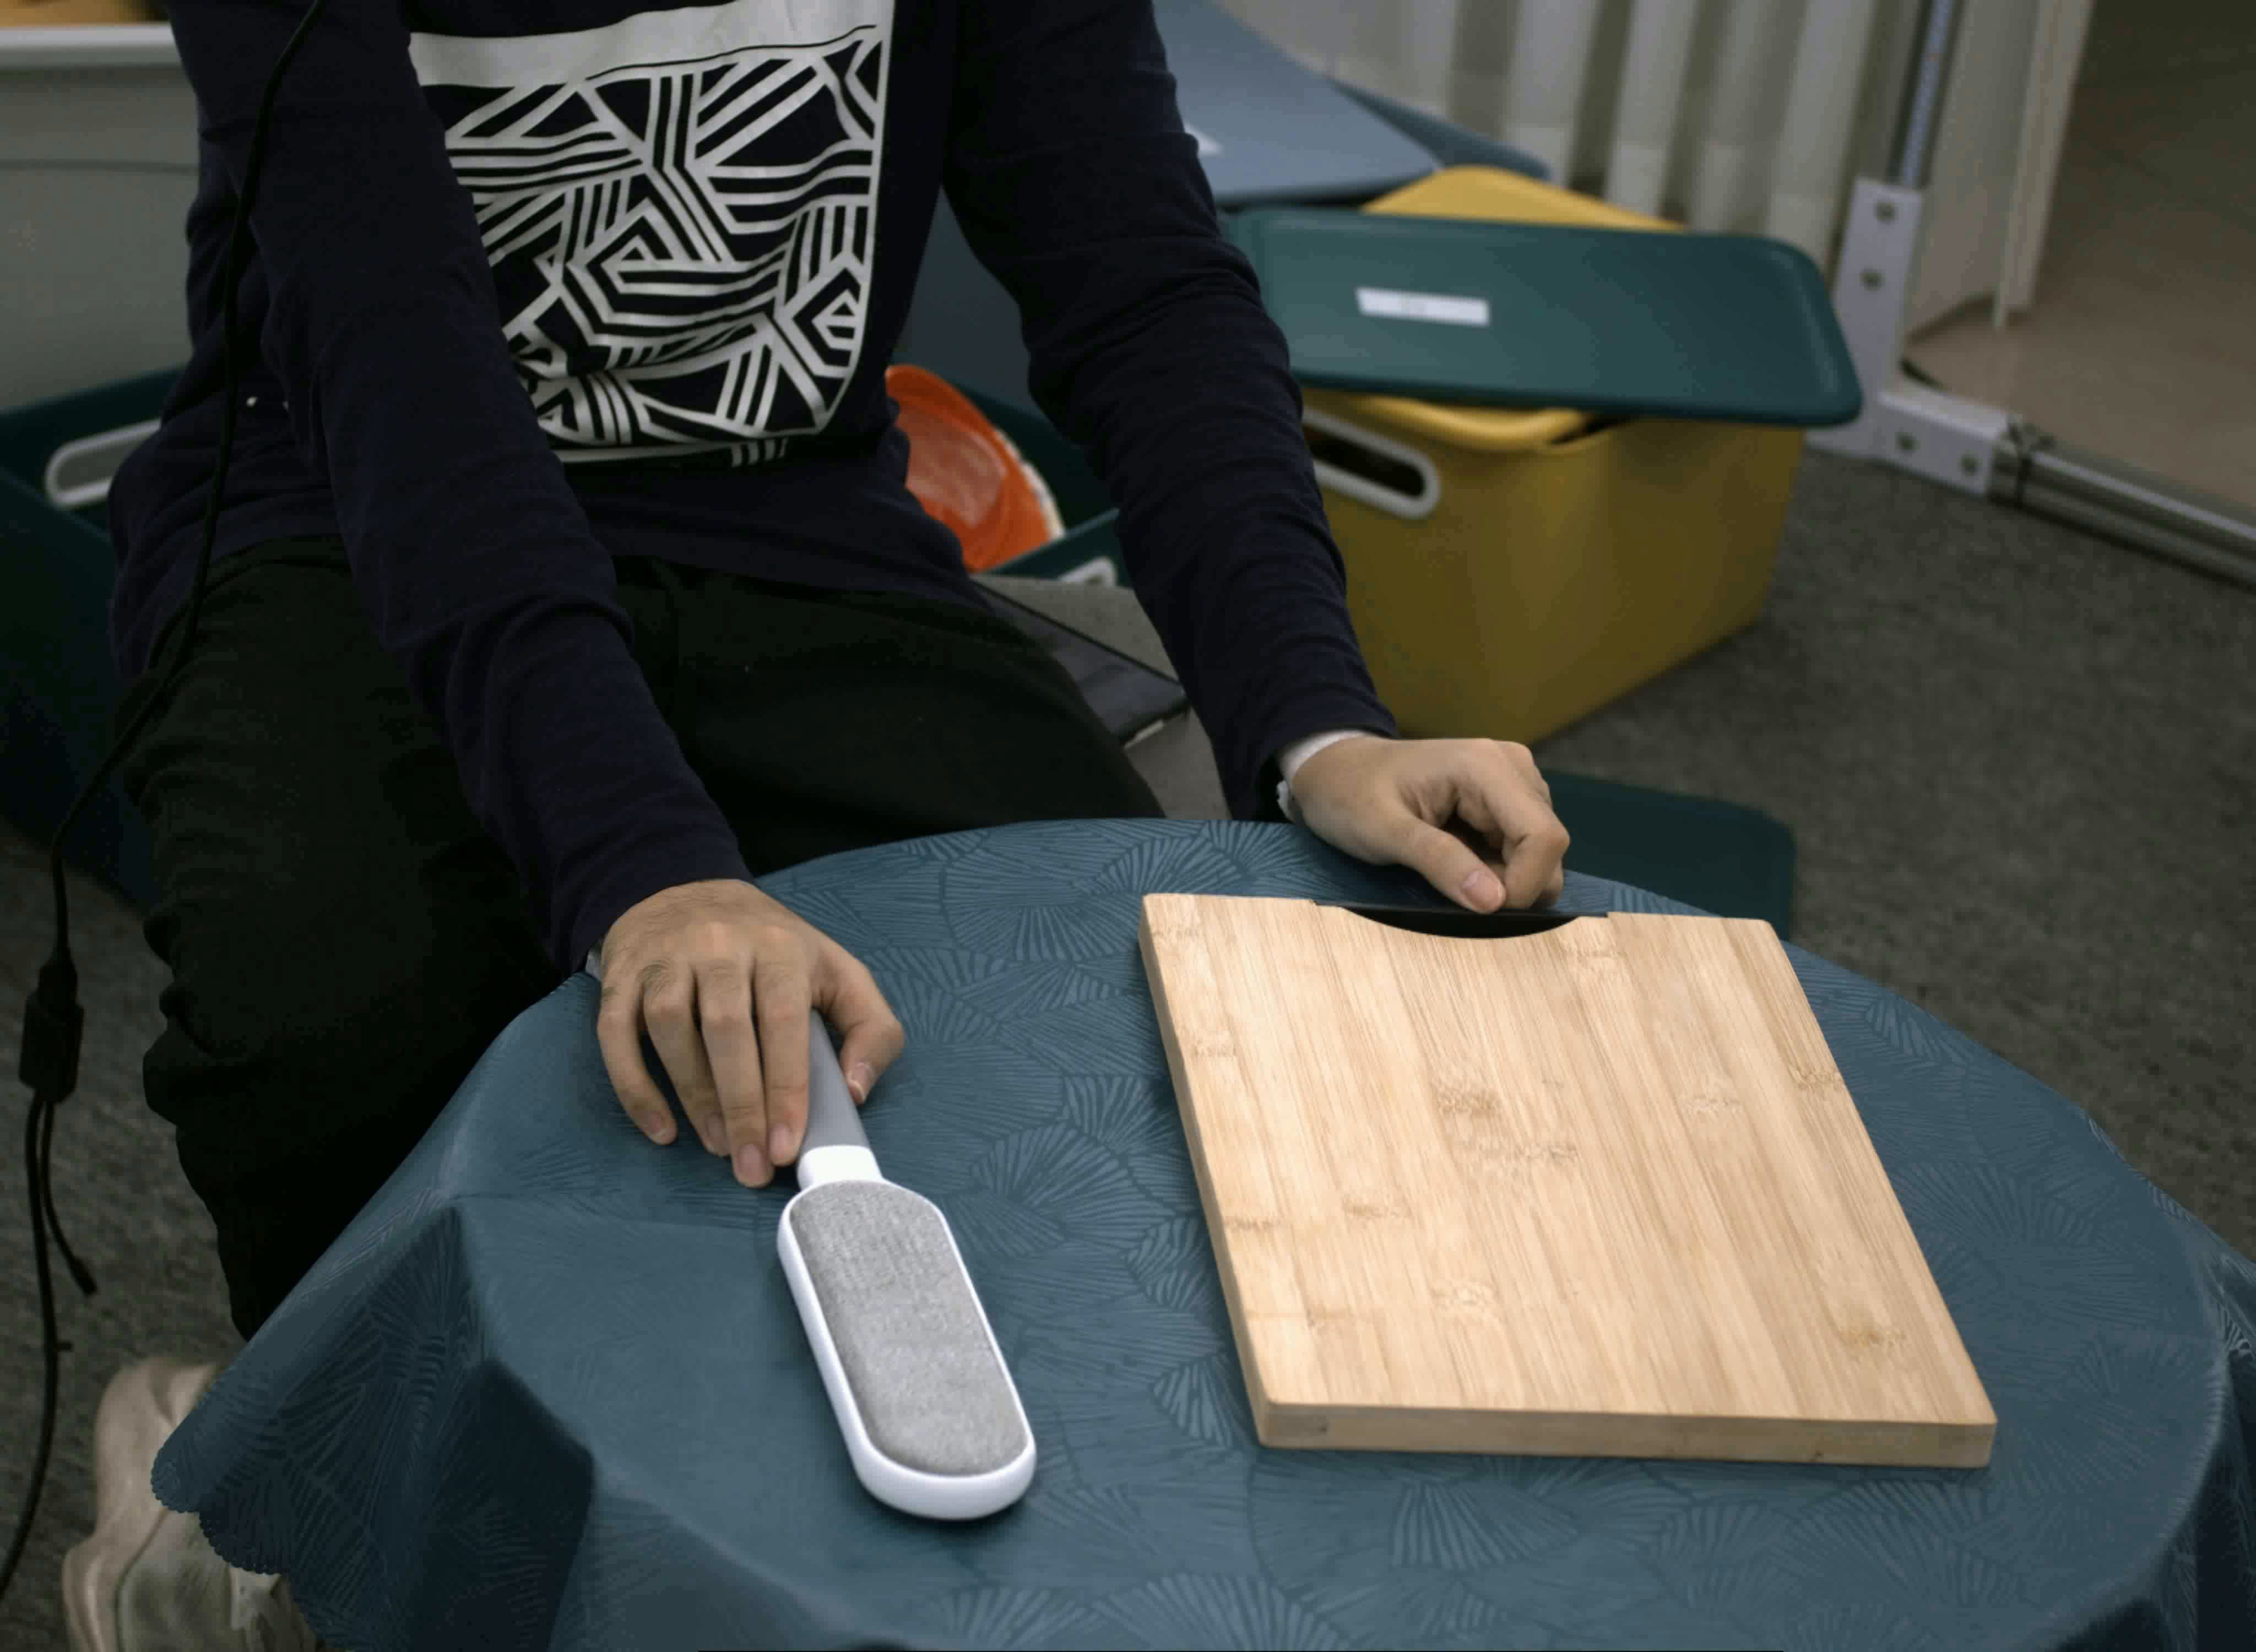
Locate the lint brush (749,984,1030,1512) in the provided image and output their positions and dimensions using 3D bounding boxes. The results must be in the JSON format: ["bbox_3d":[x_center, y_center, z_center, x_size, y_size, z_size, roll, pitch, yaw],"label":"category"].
[{"bbox_3d":[-0.086,0.132,1.740,0.060,0.021,0.311,-6,28,-12],"label":"lint brush"}]

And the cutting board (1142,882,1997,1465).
[{"bbox_3d":[0.141,0.114,1.840,0.249,0.023,0.351,3,27,-9],"label":"cutting board"}]
